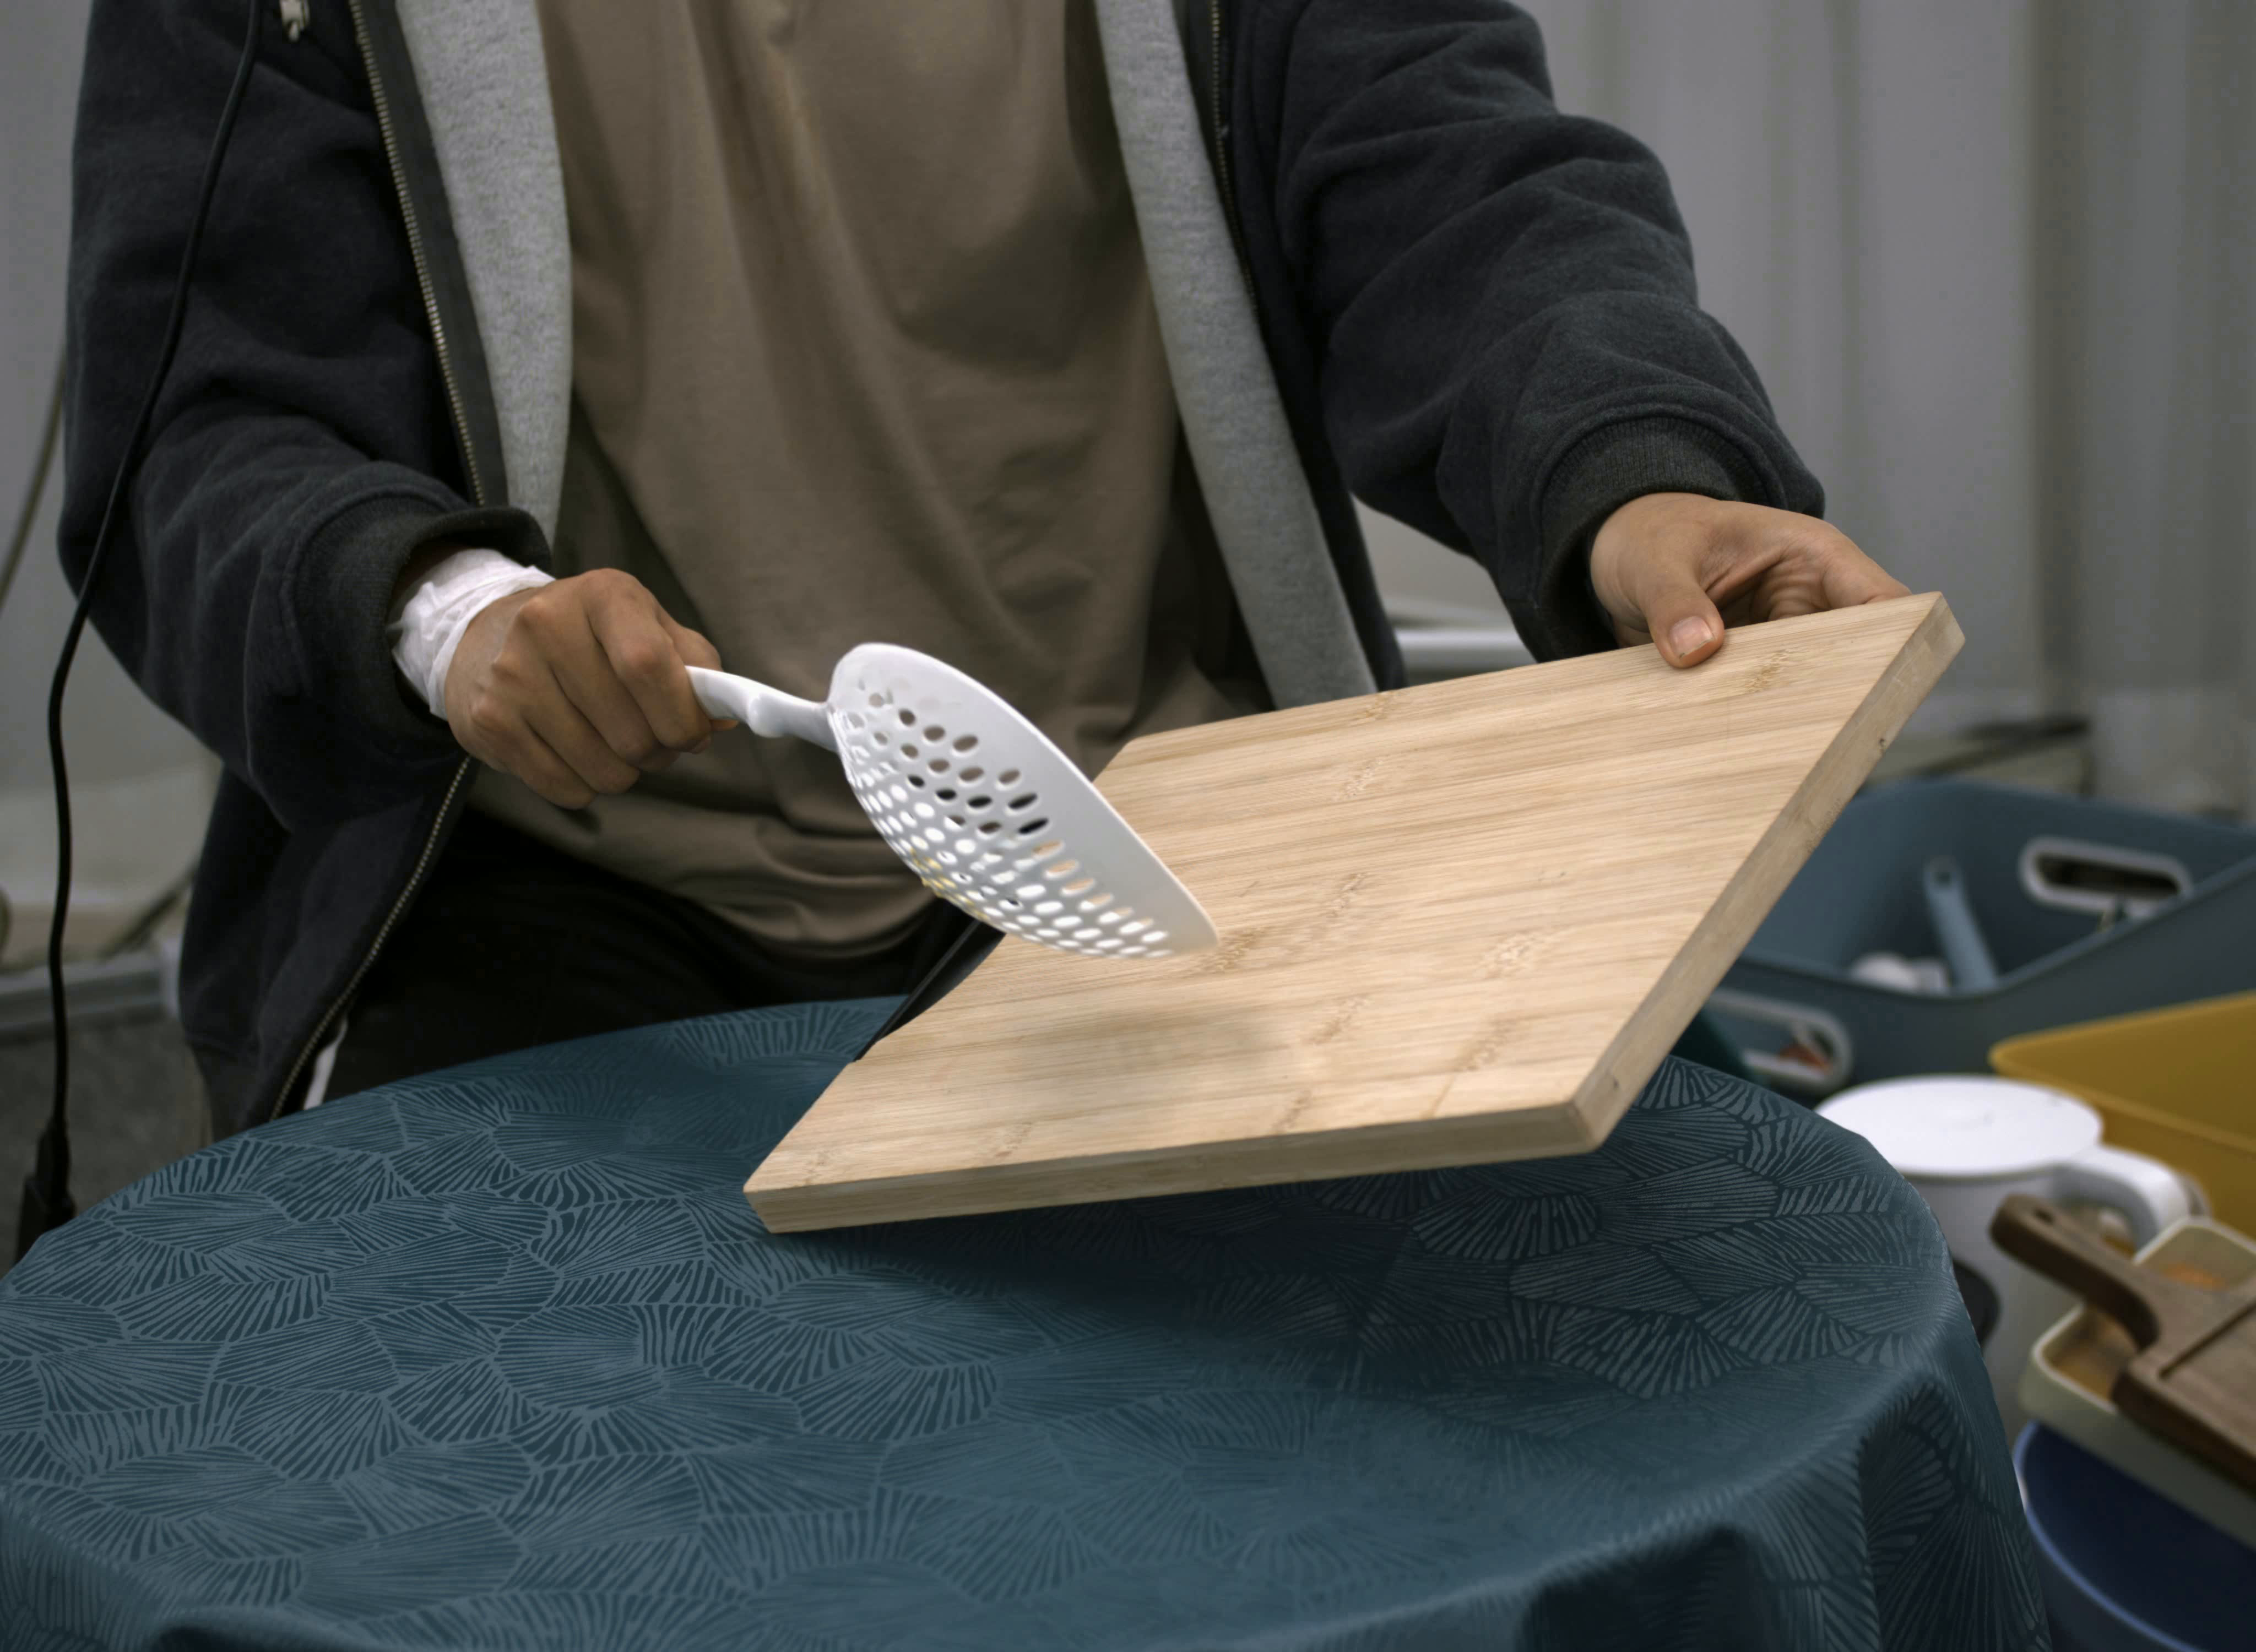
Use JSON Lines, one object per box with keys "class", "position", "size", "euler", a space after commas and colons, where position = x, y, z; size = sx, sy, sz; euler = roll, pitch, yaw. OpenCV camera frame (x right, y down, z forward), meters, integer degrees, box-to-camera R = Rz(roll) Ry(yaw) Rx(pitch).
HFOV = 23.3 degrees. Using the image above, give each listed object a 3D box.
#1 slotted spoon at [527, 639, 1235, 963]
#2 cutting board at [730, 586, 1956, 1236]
{"class": "slotted spoon", "position": [-0.091, -0.020, 1.688], "size": [0.050, 0.135, 0.351], "euler": [-49, 32, -10]}
{"class": "cutting board", "position": [0.060, 0.030, 1.653], "size": [0.348, 0.023, 0.252], "euler": [-10, 29, 43]}
